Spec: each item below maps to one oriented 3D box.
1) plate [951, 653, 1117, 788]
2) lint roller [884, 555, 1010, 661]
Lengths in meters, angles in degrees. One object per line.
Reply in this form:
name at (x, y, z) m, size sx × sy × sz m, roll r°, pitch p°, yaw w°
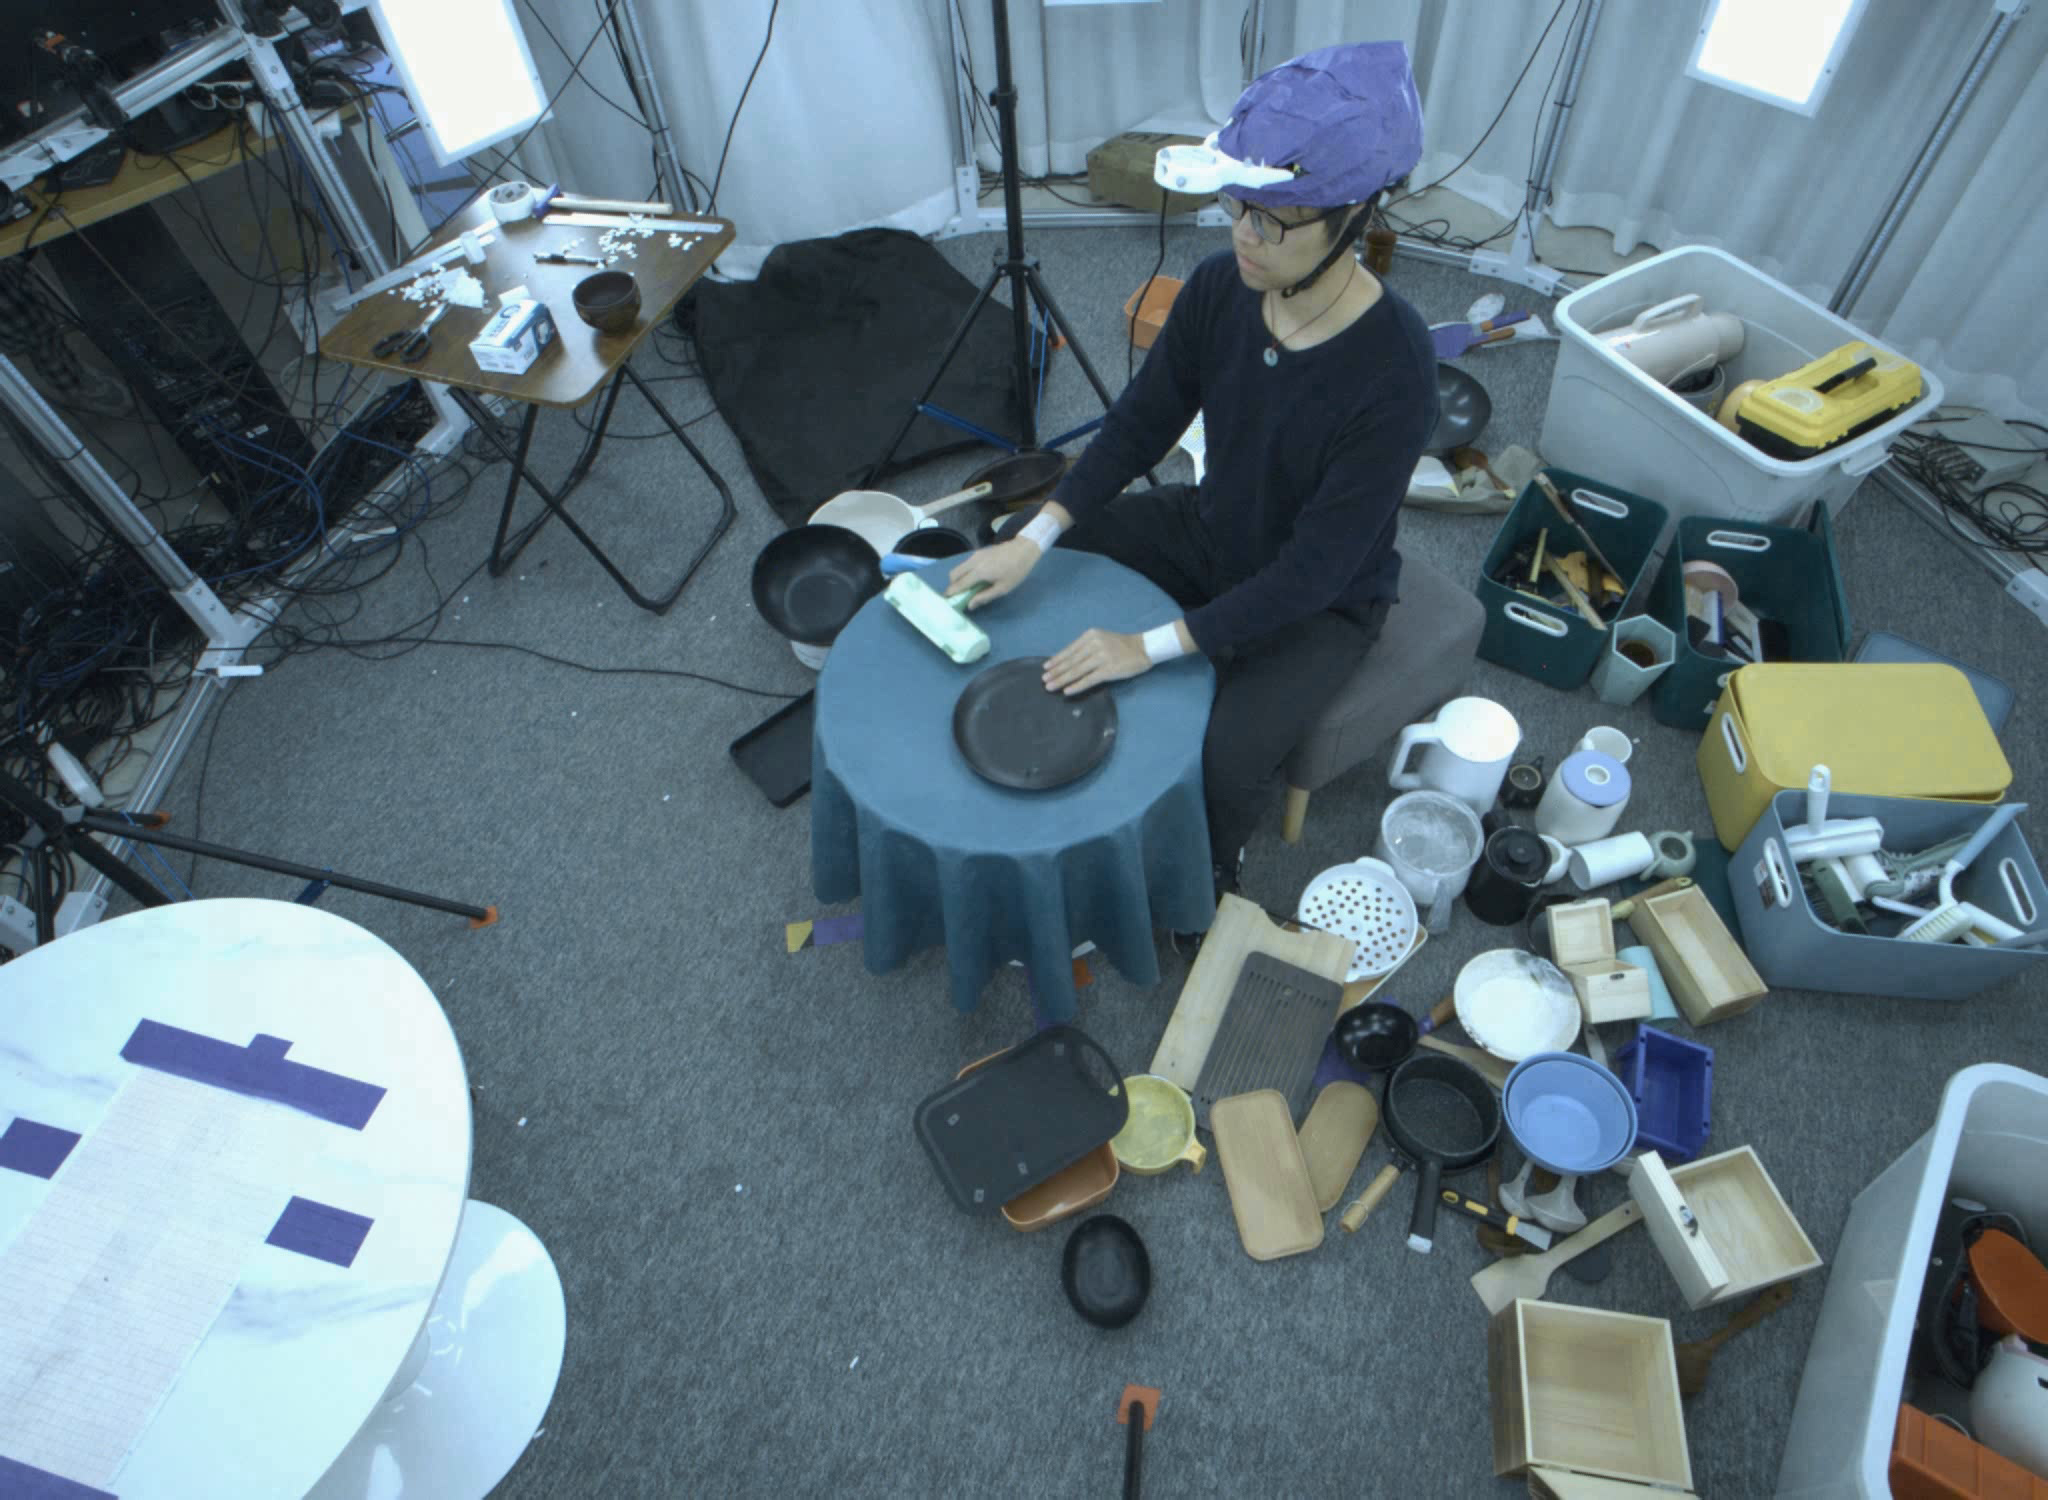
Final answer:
plate at (0.014, -0.042, 1.800) m, size 0.244 × 0.024 × 0.242 m, roll -1°, pitch 56°, yaw 2°
lint roller at (-0.098, -0.253, 1.905) m, size 0.183 × 0.083 × 0.195 m, roll -46°, pitch 64°, yaw -6°
